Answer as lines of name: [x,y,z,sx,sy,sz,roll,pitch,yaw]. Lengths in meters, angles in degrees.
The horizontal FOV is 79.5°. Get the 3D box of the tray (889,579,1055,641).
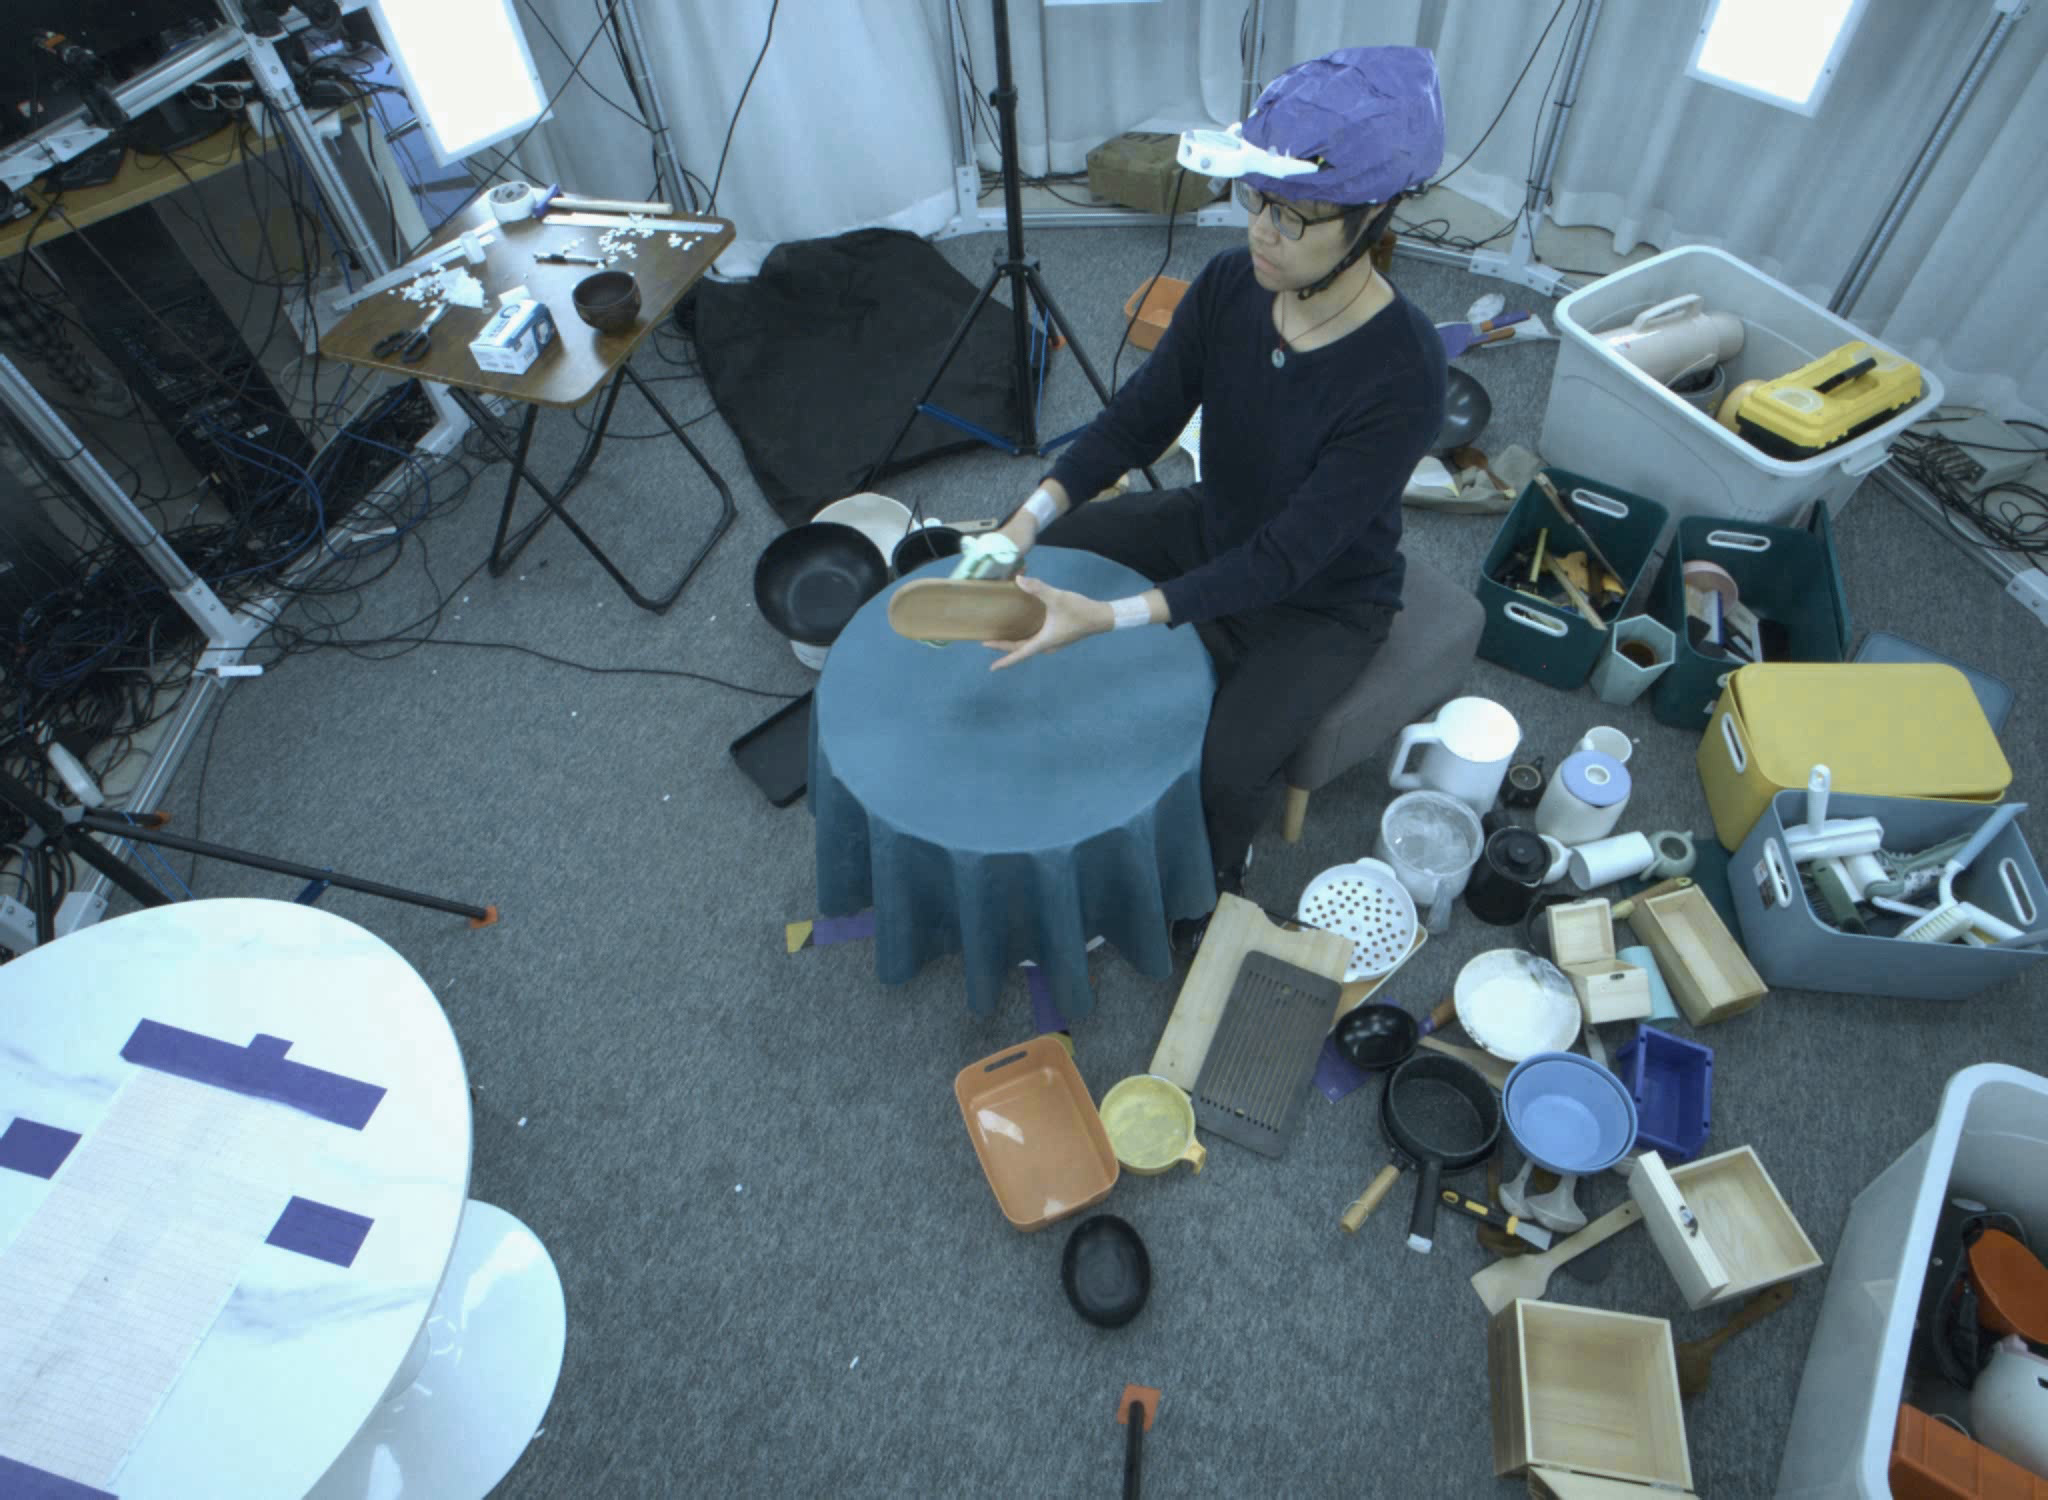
tray: [-0.069,-0.189,1.657,0.235,0.102,0.020,-3,49,-23]

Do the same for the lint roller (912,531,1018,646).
lint roller: [-0.074,-0.254,1.717,0.082,0.197,0.184,39,41,-5]
